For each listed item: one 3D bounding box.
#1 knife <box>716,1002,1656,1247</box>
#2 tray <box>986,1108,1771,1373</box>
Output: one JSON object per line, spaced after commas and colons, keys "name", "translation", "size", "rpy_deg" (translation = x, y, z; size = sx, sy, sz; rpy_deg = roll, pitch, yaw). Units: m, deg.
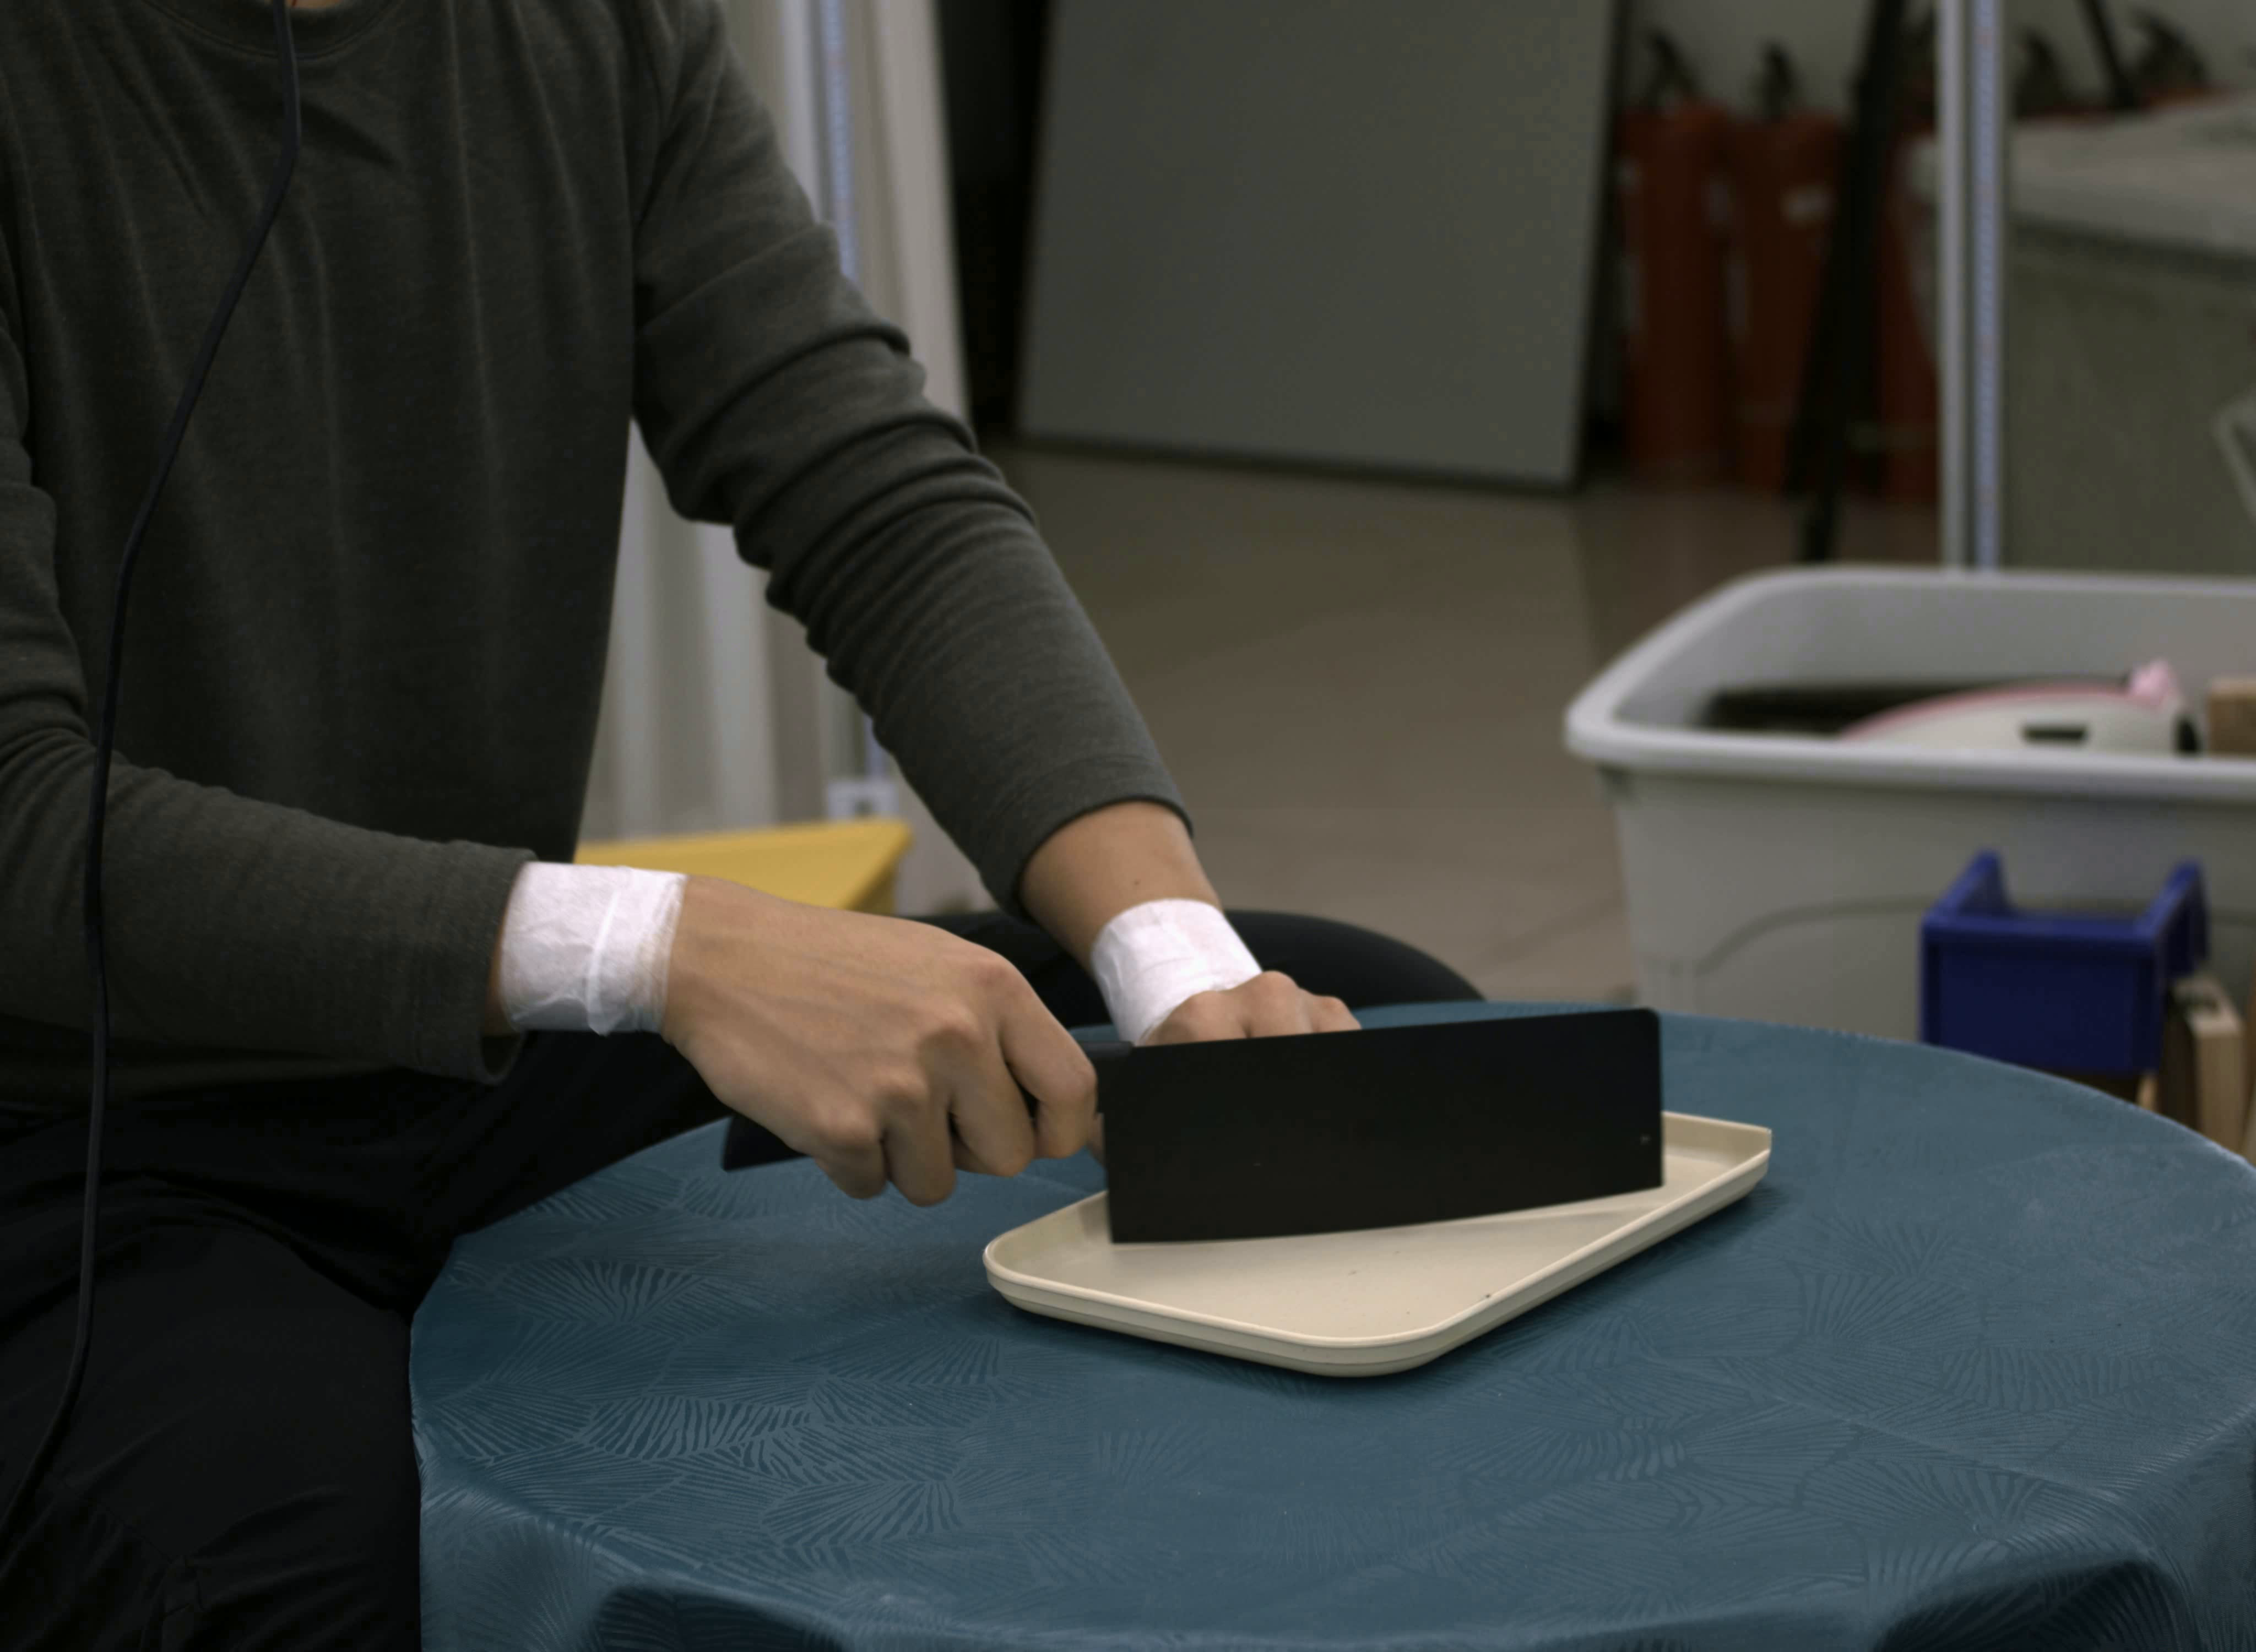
{"name": "knife", "translation": [0.020, 0.094, 1.698], "size": [0.298, 0.082, 0.021], "rpy_deg": [1, 10, -3]}
{"name": "tray", "translation": [0.082, 0.125, 1.698], "size": [0.172, 0.017, 0.235], "rpy_deg": [6, 17, 39]}
